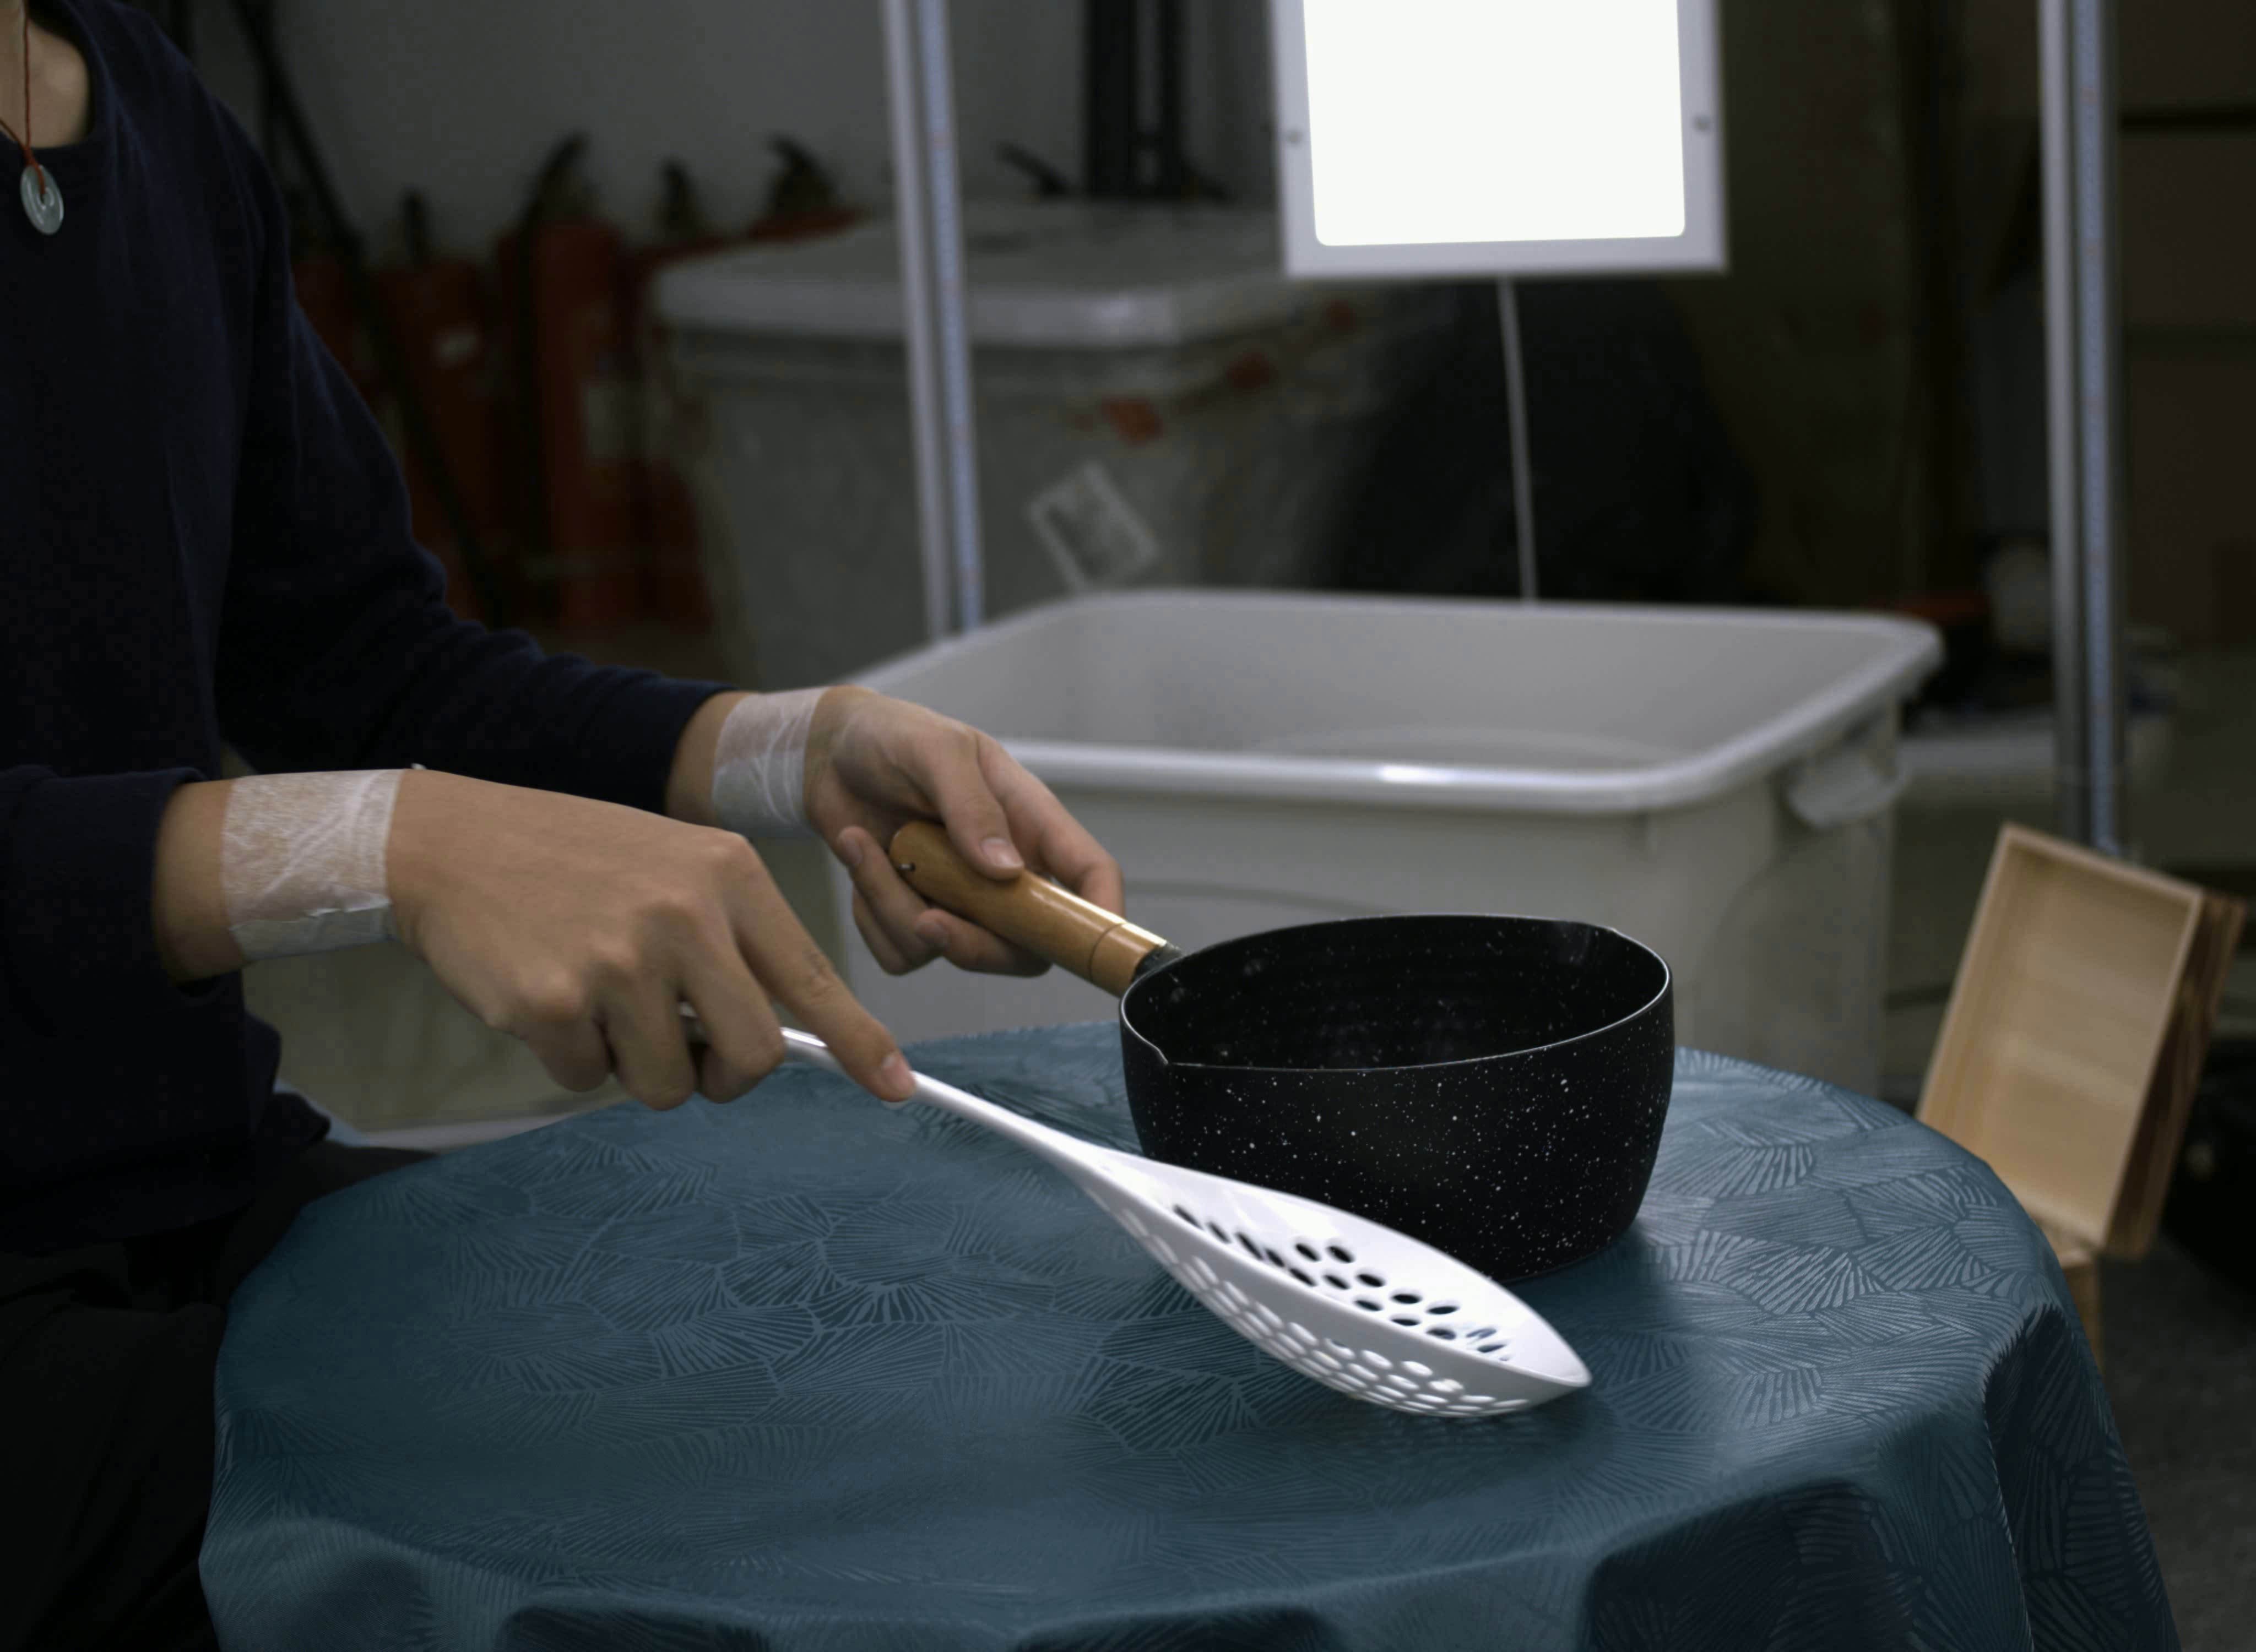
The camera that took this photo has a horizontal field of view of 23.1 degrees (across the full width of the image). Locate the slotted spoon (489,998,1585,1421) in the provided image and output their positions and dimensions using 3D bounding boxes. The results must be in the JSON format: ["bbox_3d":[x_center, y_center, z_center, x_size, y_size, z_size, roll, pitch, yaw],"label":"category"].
[{"bbox_3d":[-0.025,0.105,1.632,0.344,0.050,0.137,27,7,-14],"label":"slotted spoon"}]

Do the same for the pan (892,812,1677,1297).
[{"bbox_3d":[0.036,0.072,1.879,0.202,0.108,0.350,-18,20,-39],"label":"pan"}]
